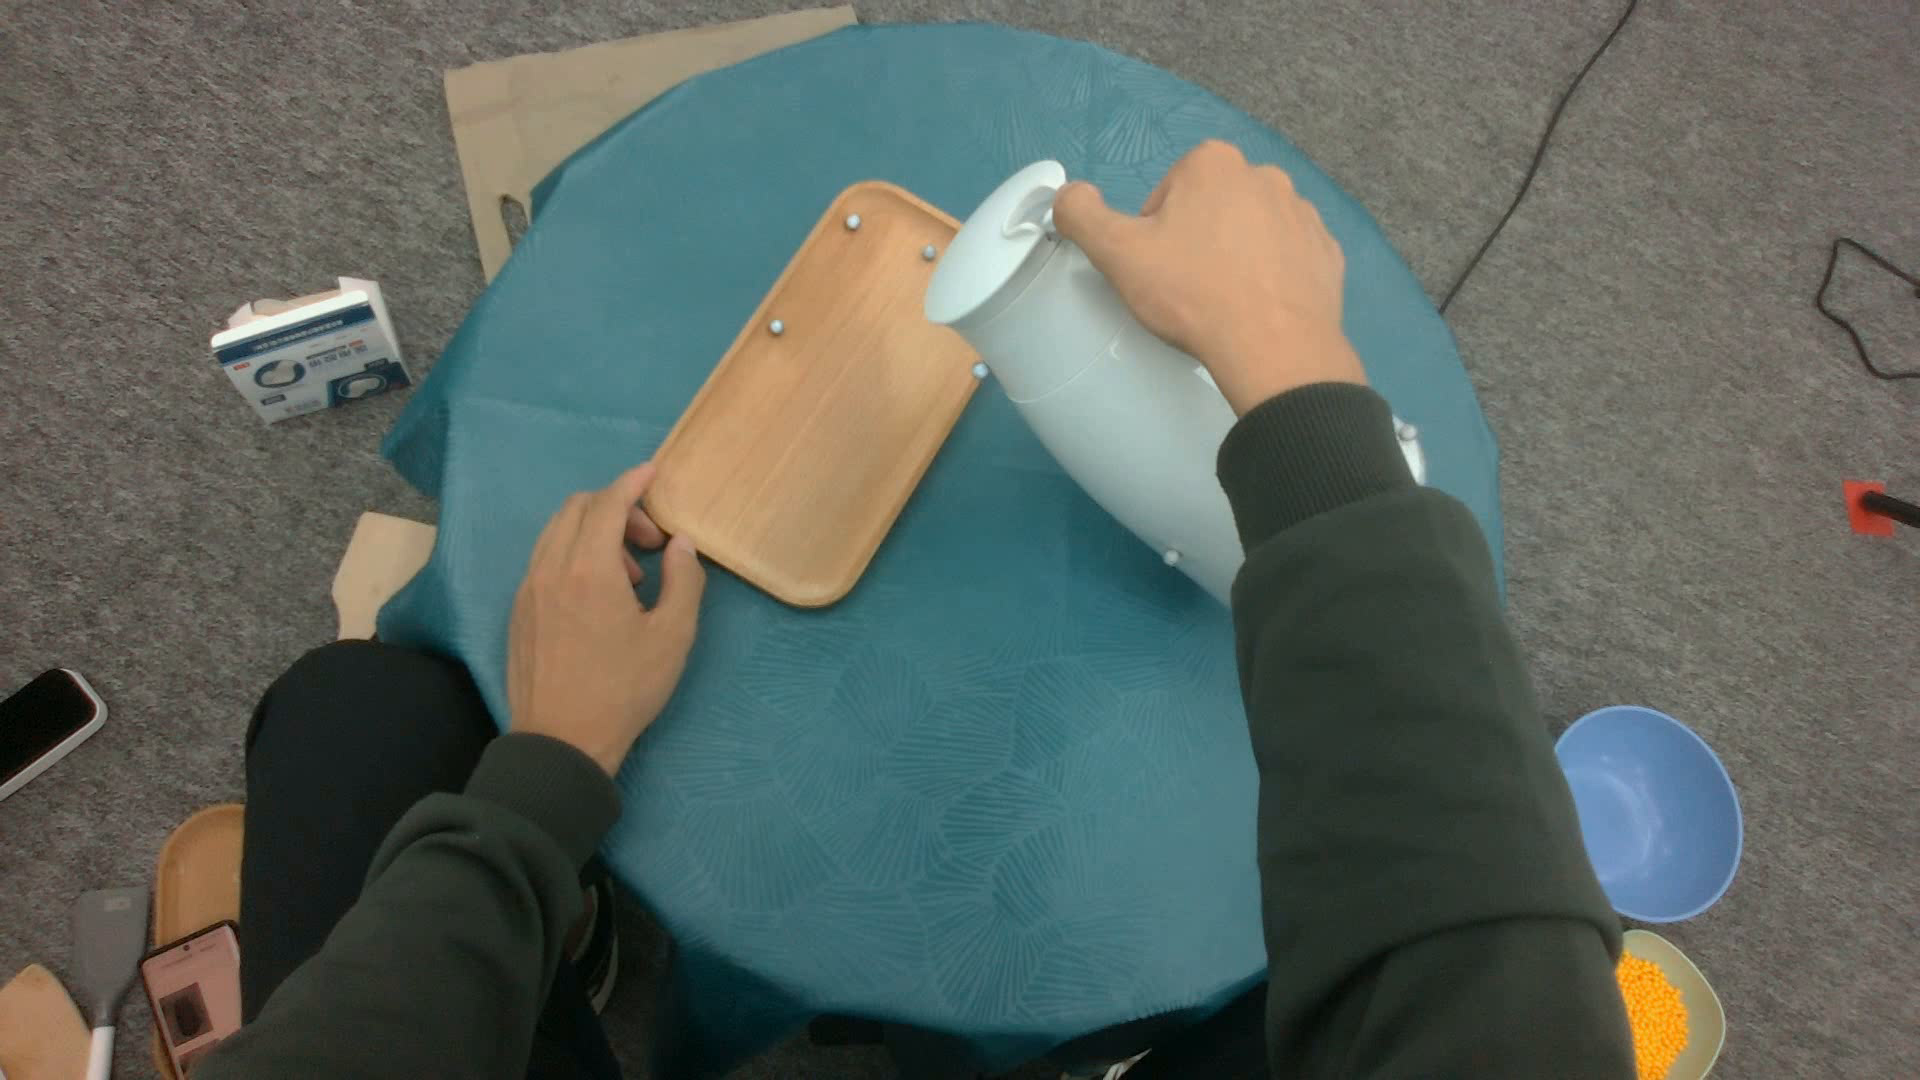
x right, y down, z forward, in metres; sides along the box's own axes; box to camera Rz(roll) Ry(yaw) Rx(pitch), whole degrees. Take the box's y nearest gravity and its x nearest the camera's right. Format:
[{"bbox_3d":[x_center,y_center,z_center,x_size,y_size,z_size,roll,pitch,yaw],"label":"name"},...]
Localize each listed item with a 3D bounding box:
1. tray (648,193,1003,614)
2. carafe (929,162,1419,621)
[{"bbox_3d":[-0.063,-0.082,0.781,0.130,0.023,0.251,30,70,5],"label":"tray"},{"bbox_3d":[0.113,-0.081,0.672,0.248,0.167,0.133,37,63,-27],"label":"carafe"}]
